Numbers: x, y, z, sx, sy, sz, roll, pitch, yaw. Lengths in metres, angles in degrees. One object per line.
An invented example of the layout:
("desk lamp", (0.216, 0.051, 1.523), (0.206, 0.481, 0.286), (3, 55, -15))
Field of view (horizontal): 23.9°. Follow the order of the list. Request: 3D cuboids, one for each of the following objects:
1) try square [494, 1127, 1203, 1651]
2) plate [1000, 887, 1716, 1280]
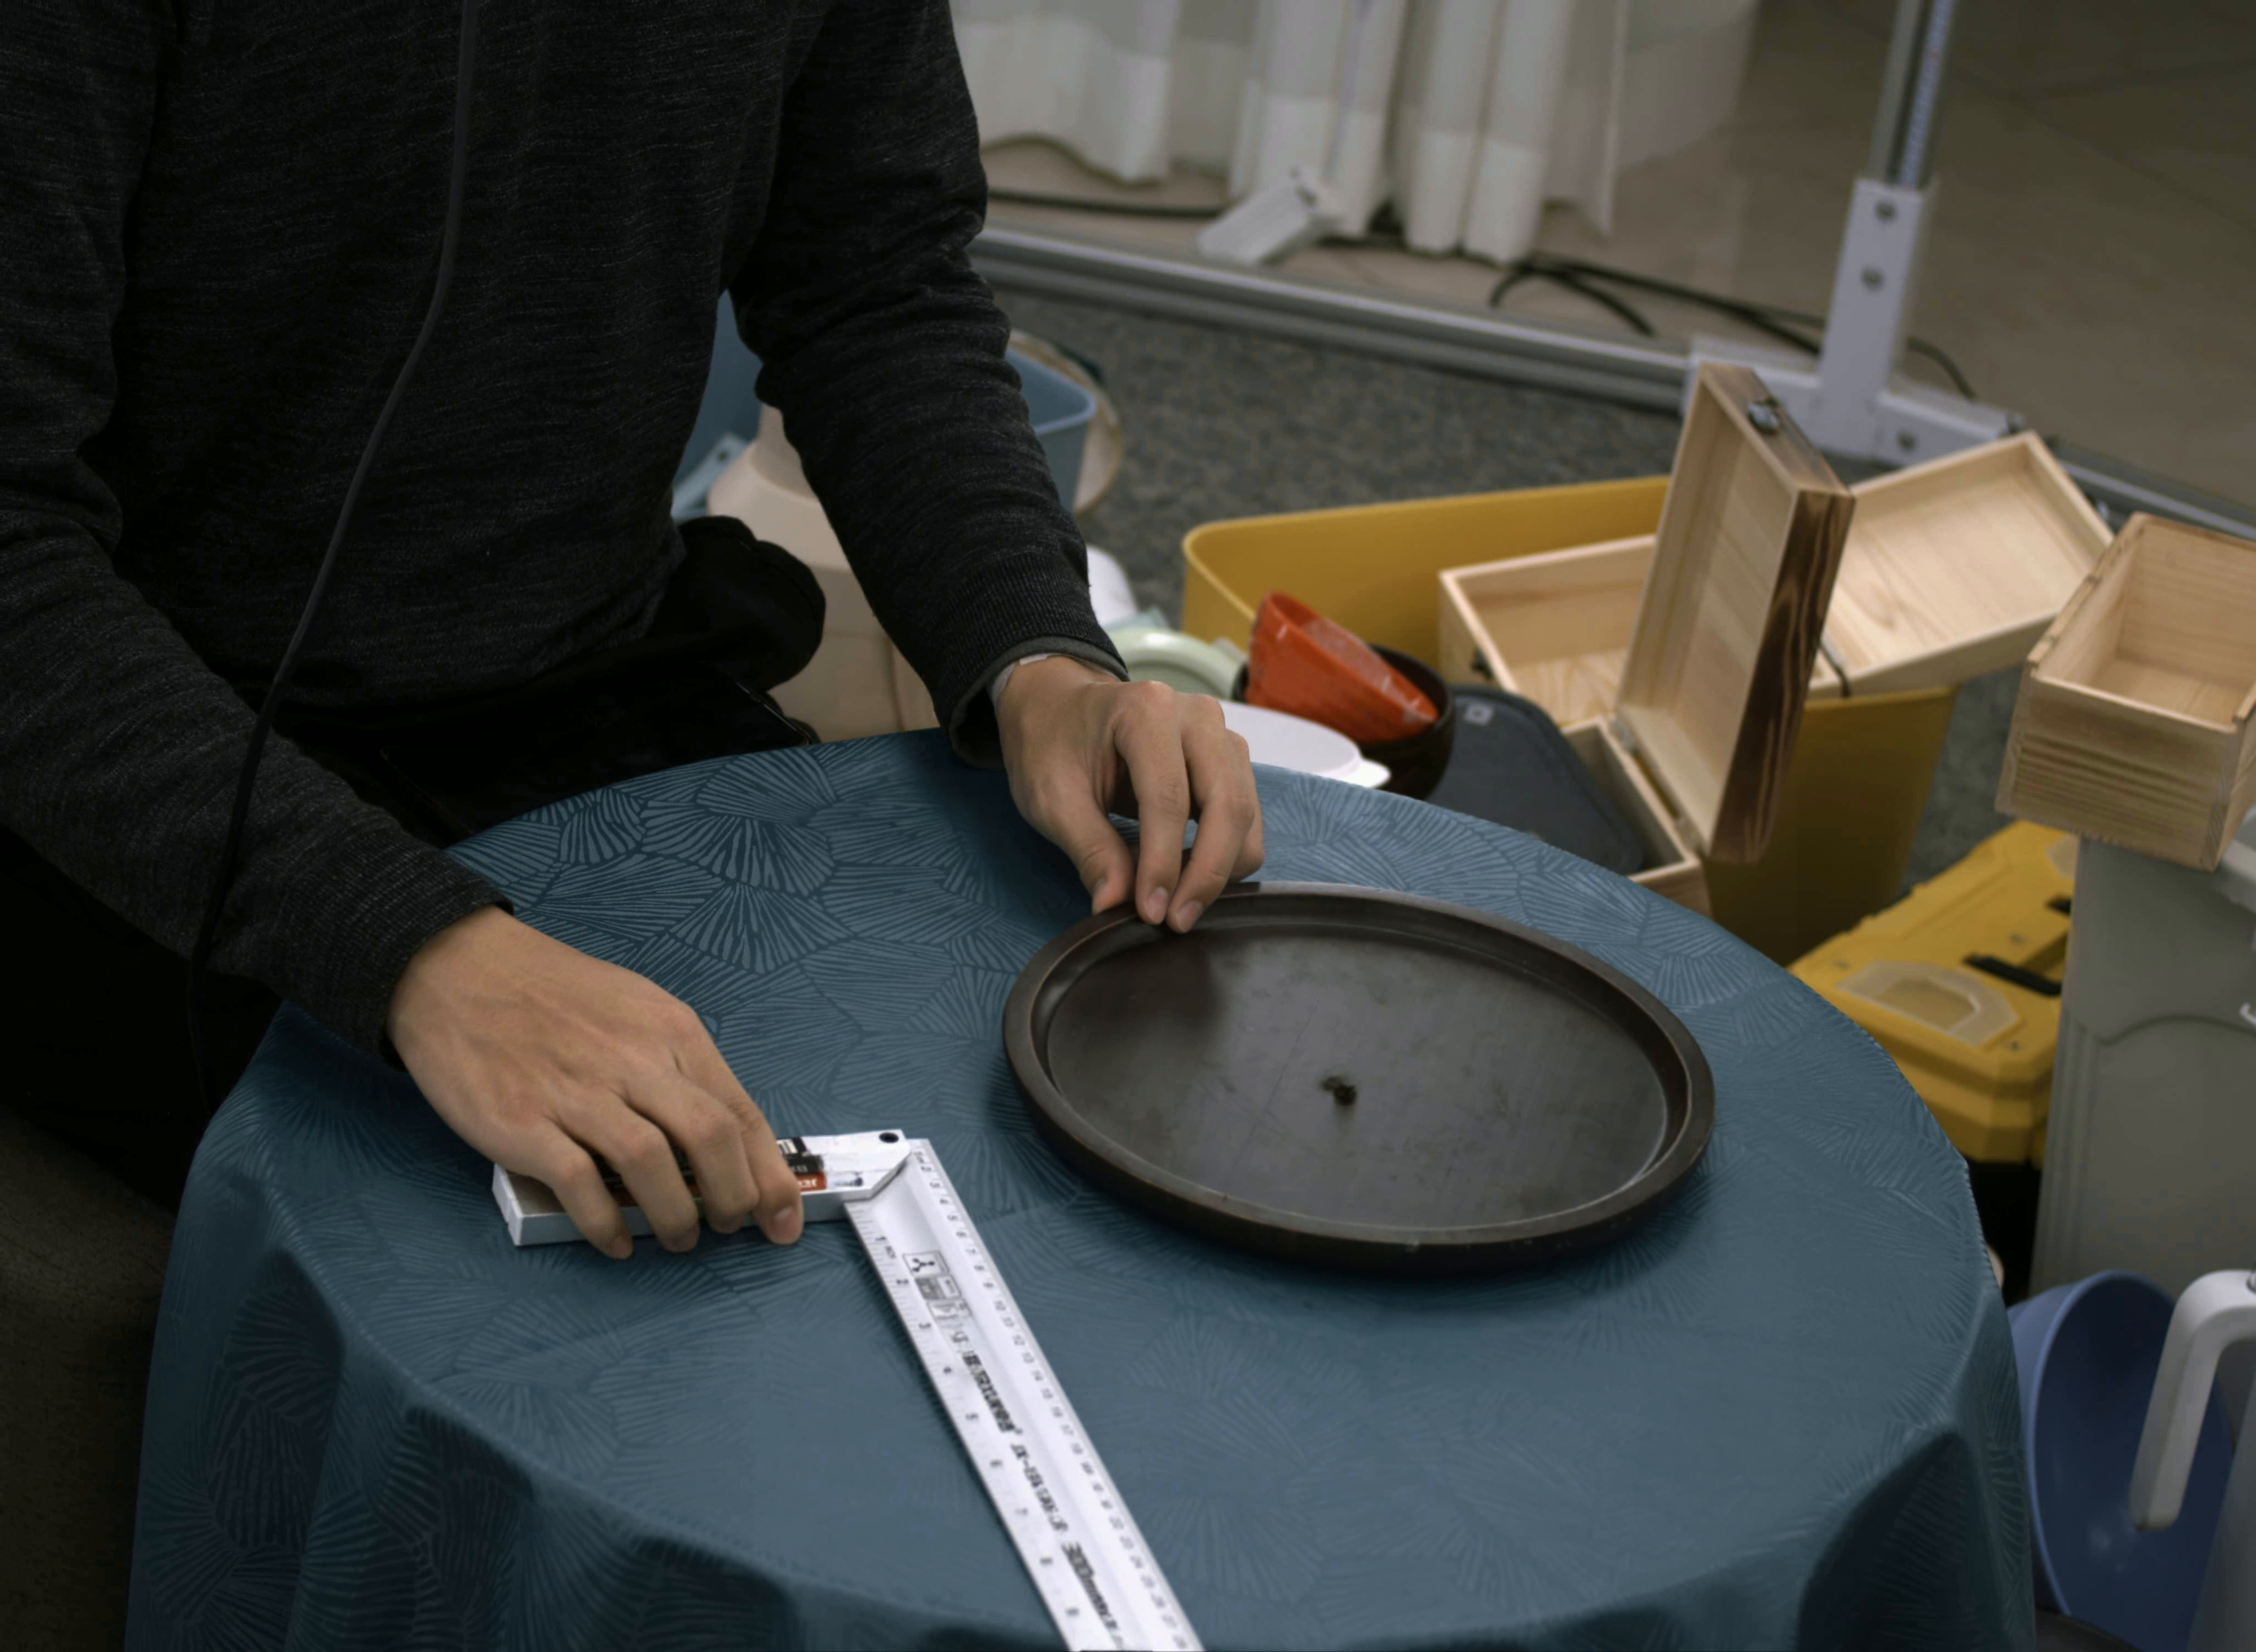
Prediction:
("try square", (-0.090, 0.185, 1.653), (0.151, 0.016, 0.316), (-4, 30, -19))
("plate", (0.080, 0.088, 1.864), (0.254, 0.029, 0.256), (5, 28, -3))
